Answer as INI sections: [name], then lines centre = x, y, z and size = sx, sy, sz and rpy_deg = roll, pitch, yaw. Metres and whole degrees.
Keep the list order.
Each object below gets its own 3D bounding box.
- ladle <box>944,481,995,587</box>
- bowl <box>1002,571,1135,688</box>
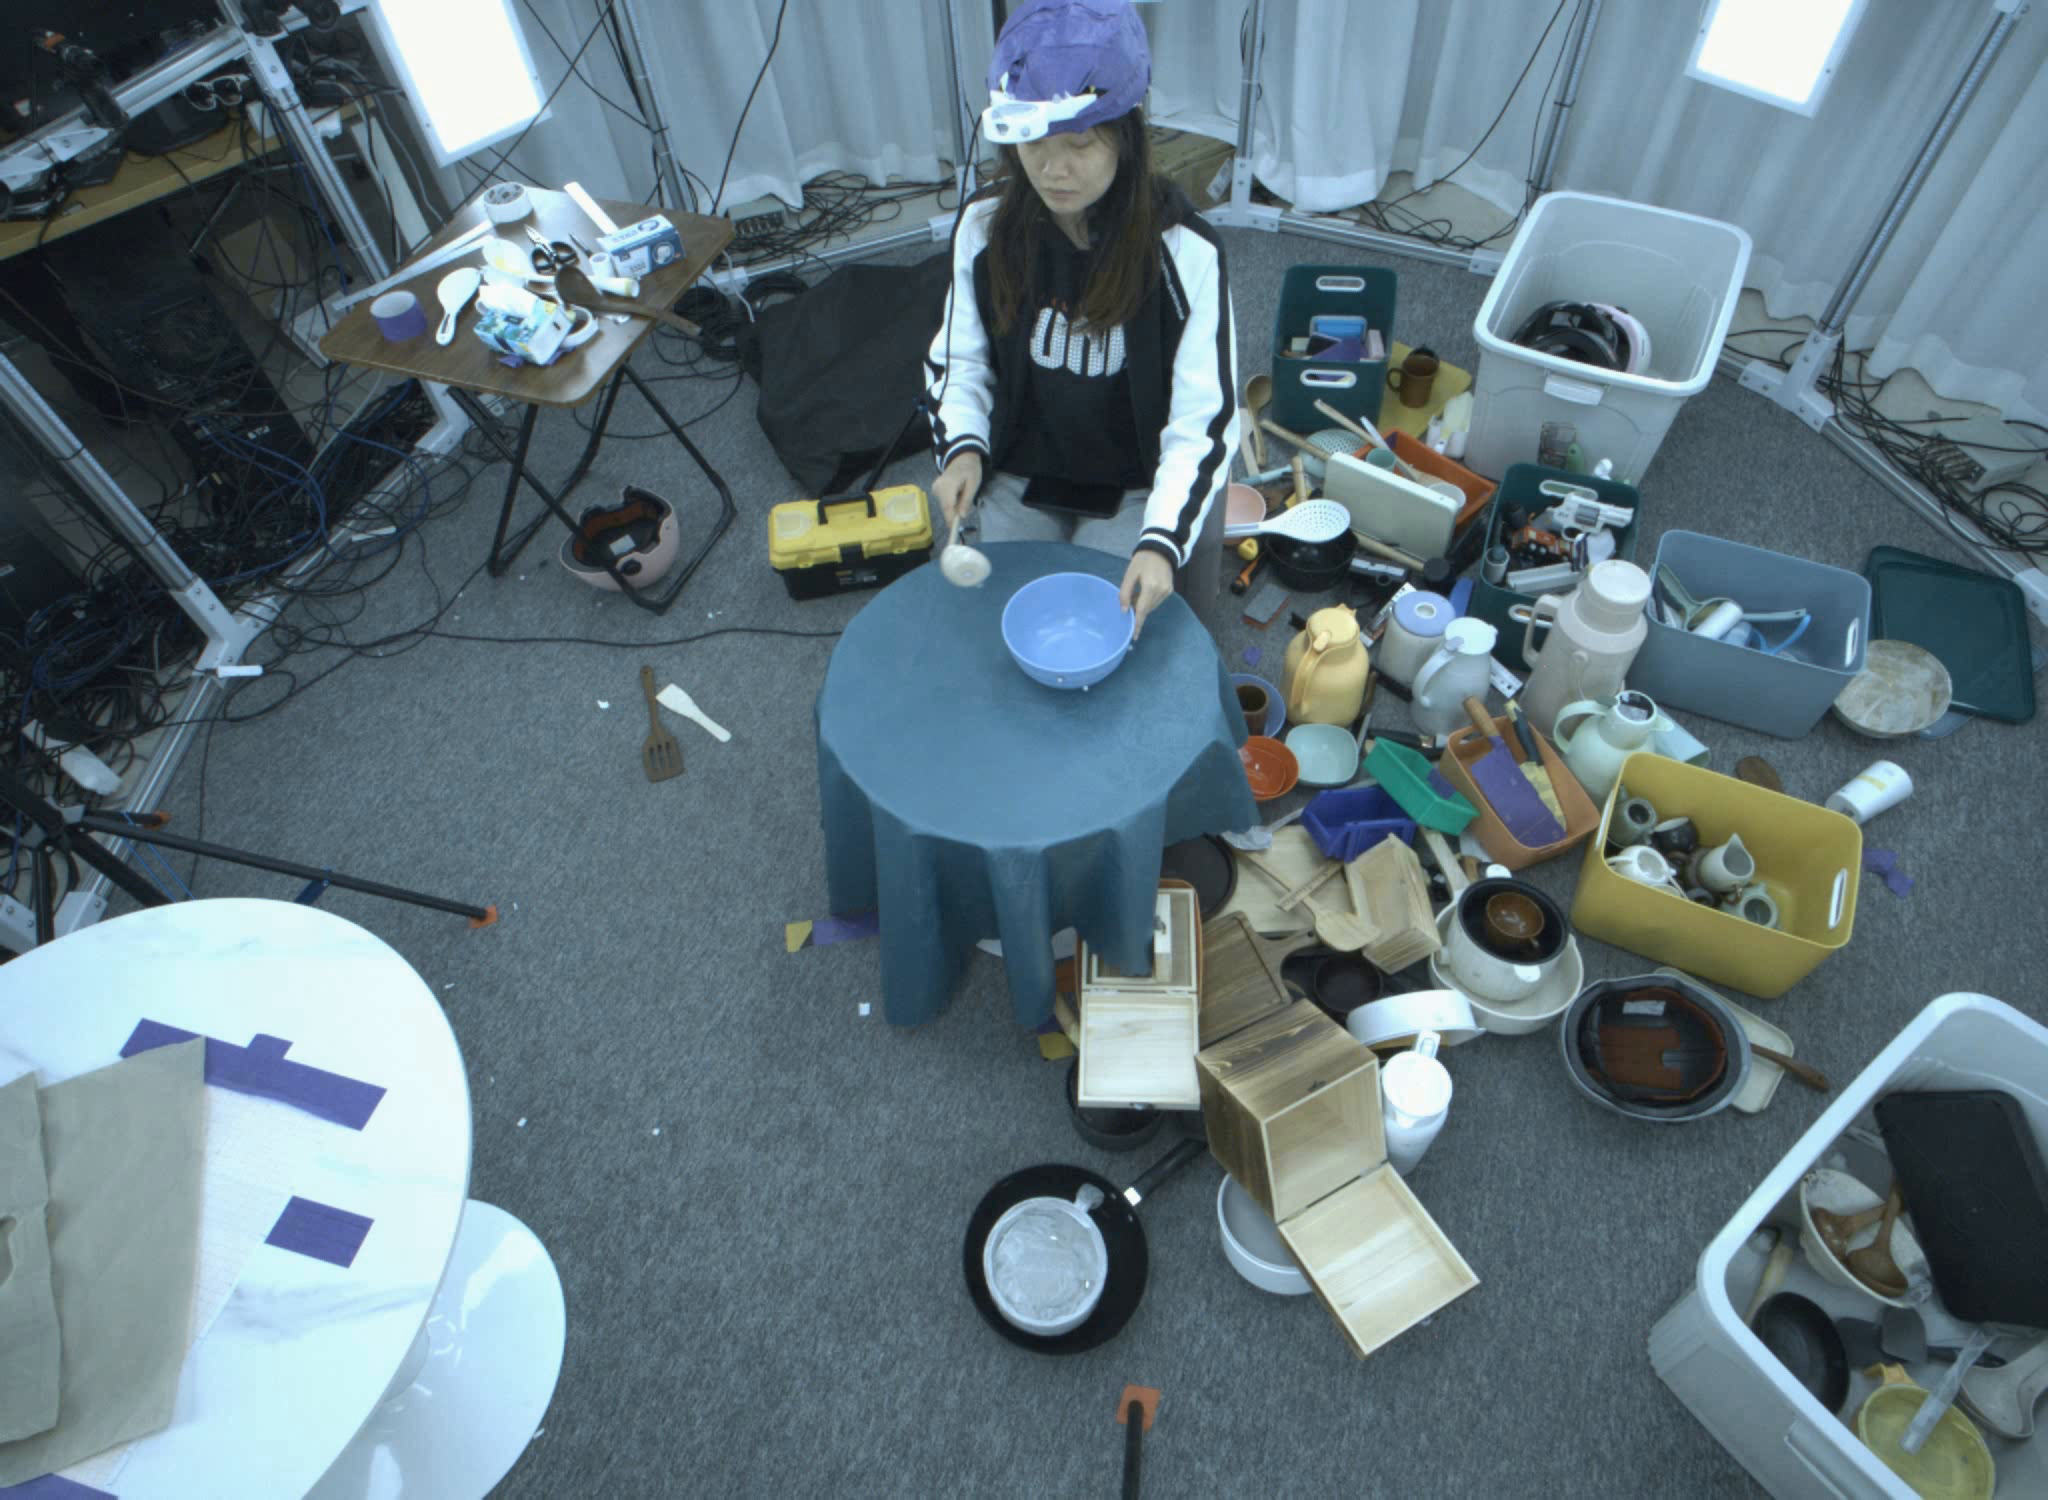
[ladle]
centre = -0.080, -0.339, 1.807
size = 0.072, 0.074, 0.251
rpy_deg = -26, 43, 26
[bowl]
centre = 0.067, -0.165, 1.843
size = 0.196, 0.096, 0.194
rpy_deg = 0, 57, 2
